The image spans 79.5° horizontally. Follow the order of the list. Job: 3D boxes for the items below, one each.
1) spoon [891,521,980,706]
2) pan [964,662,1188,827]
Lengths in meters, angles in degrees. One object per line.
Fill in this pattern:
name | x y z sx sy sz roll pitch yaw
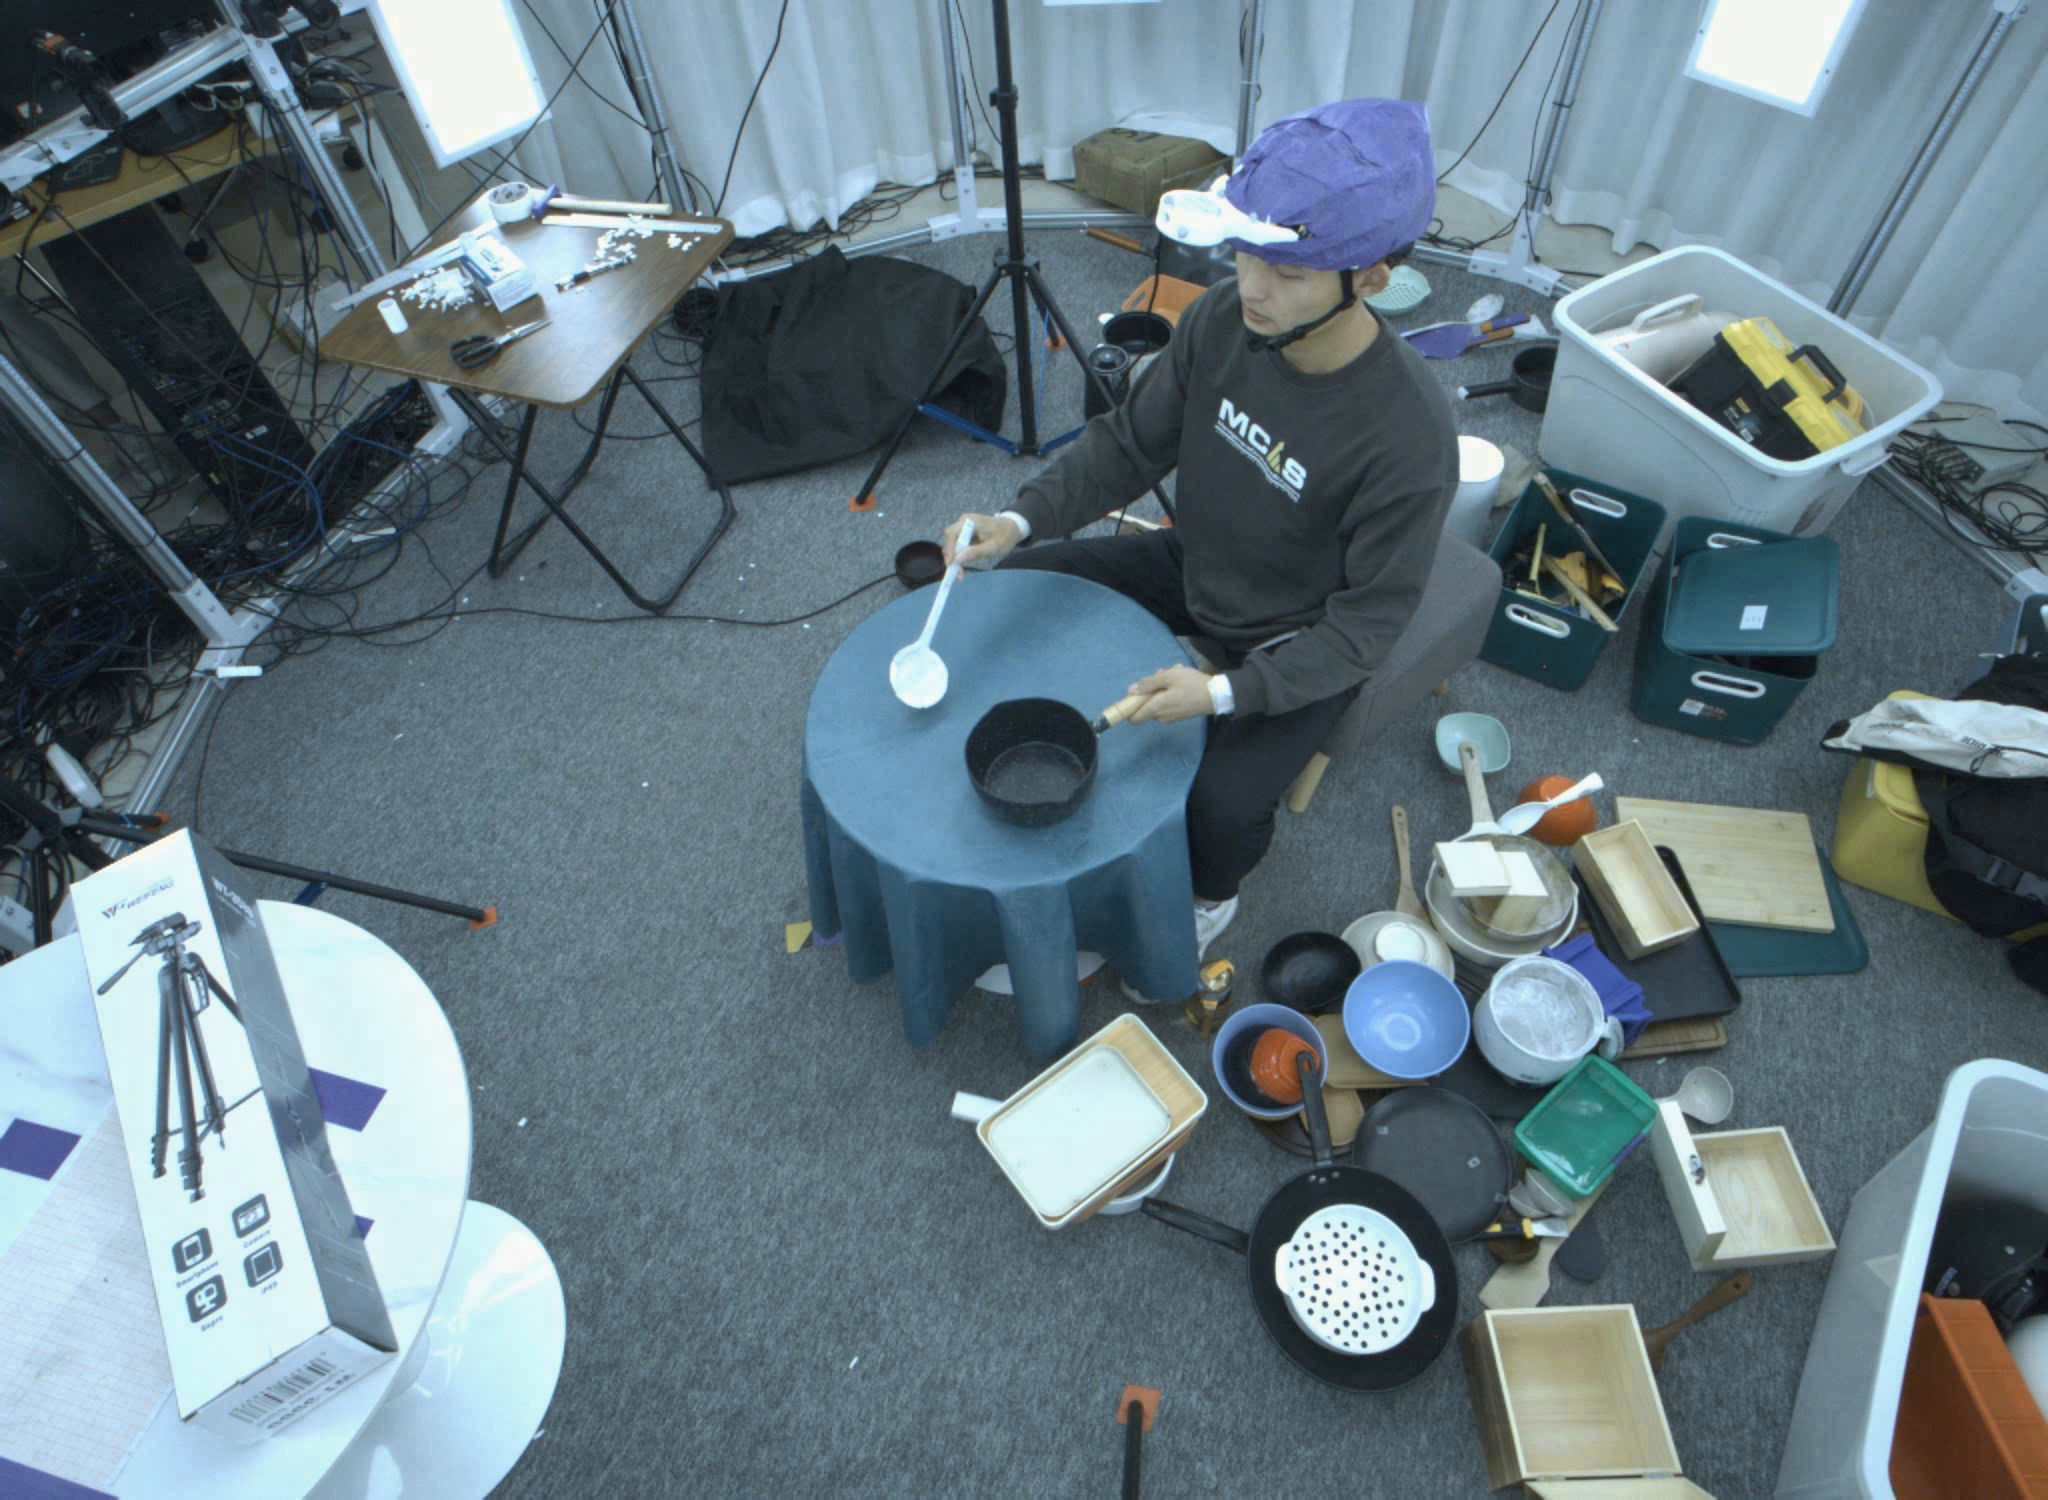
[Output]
spoon | -0.111 -0.197 1.777 0.103 0.277 0.058 16 18 -32
pan | 0.081 -0.019 1.735 0.345 0.109 0.203 -27 54 -14
